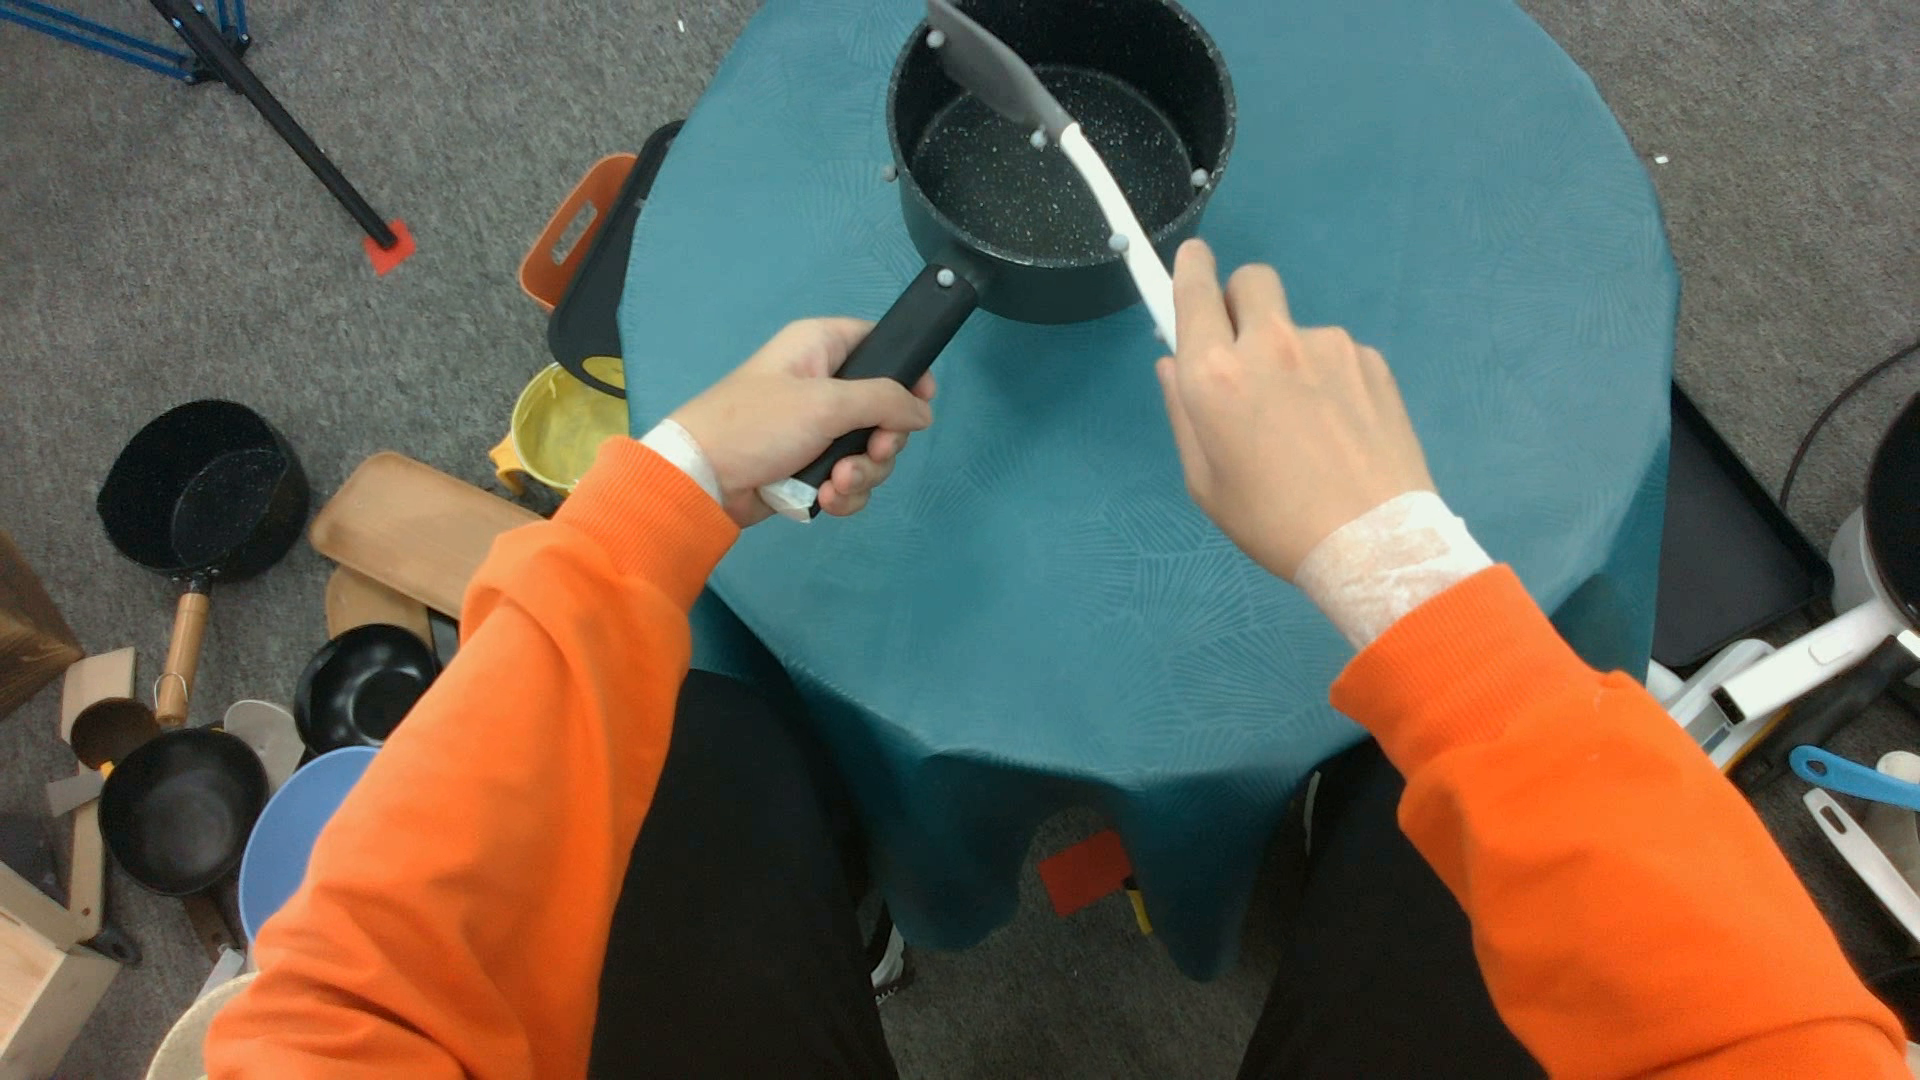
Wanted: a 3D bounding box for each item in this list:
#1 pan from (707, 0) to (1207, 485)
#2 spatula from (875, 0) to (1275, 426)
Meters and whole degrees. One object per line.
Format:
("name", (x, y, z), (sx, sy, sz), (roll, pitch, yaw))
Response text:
("pan", (-0.008, -0.148, 0.685), (0.172, 0.086, 0.330), (32, 73, 10))
("spatula", (0.042, -0.160, 0.622), (0.032, 0.058, 0.288), (-34, 63, -2))
